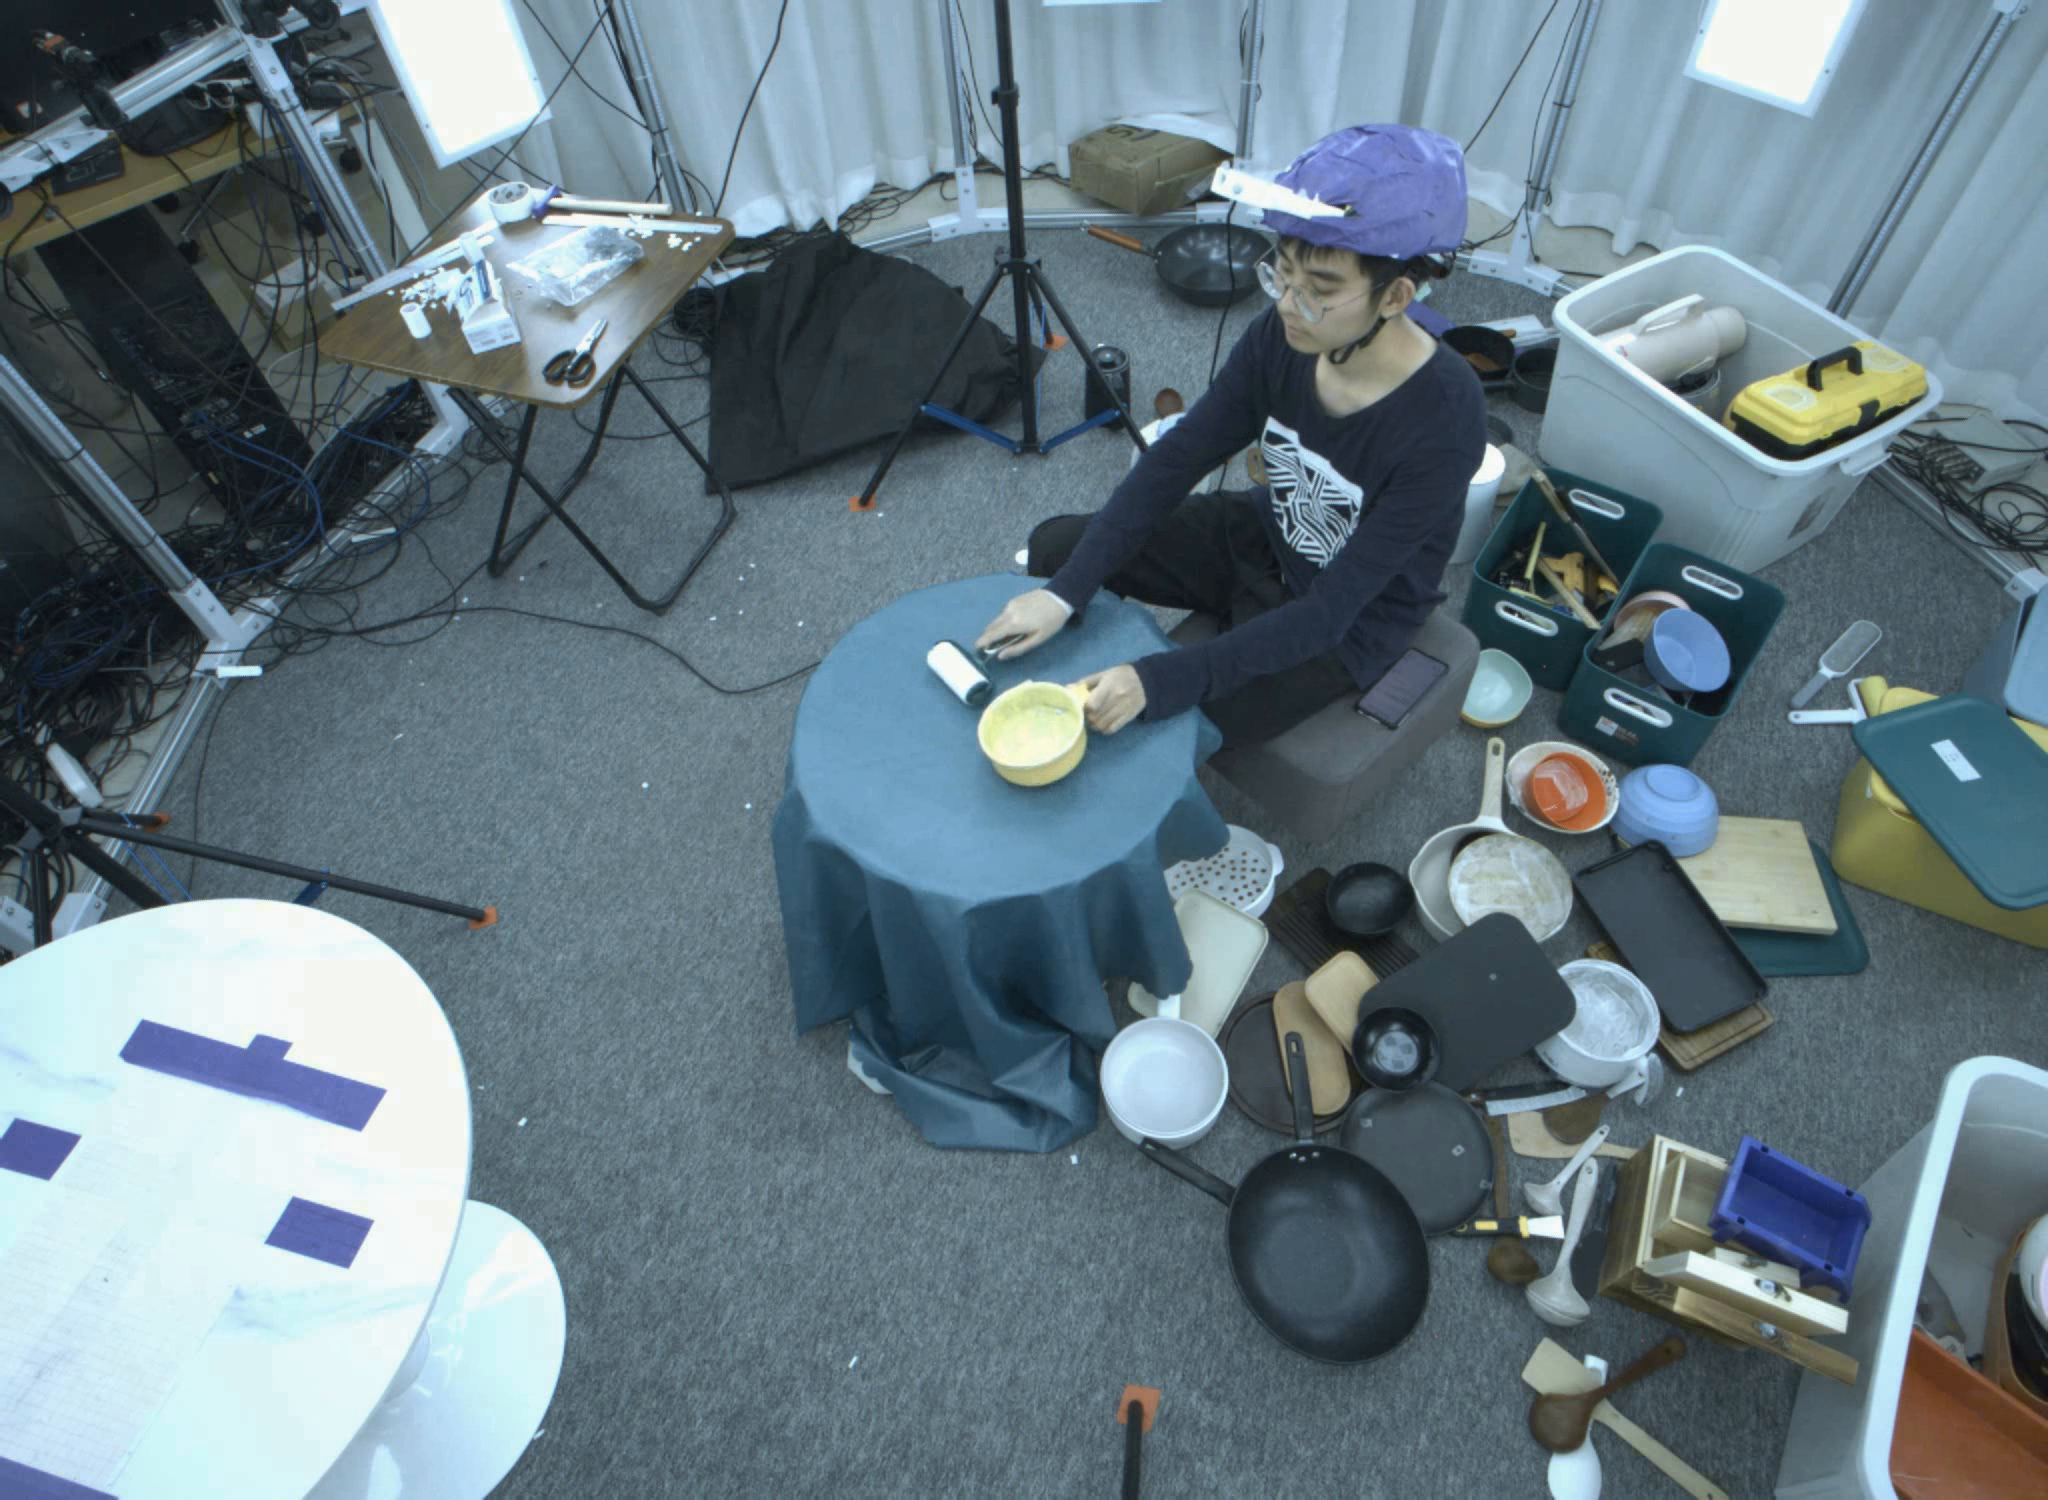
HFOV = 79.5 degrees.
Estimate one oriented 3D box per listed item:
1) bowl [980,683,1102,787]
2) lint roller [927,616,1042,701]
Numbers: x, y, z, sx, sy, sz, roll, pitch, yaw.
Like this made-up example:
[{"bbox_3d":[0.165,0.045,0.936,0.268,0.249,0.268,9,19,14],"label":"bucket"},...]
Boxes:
[{"bbox_3d":[0.030,-0.024,1.760,0.180,0.075,0.149,-37,52,-14],"label":"bowl"},{"bbox_3d":[-0.049,-0.160,1.862,0.181,0.049,0.131,-39,57,-12],"label":"lint roller"}]
